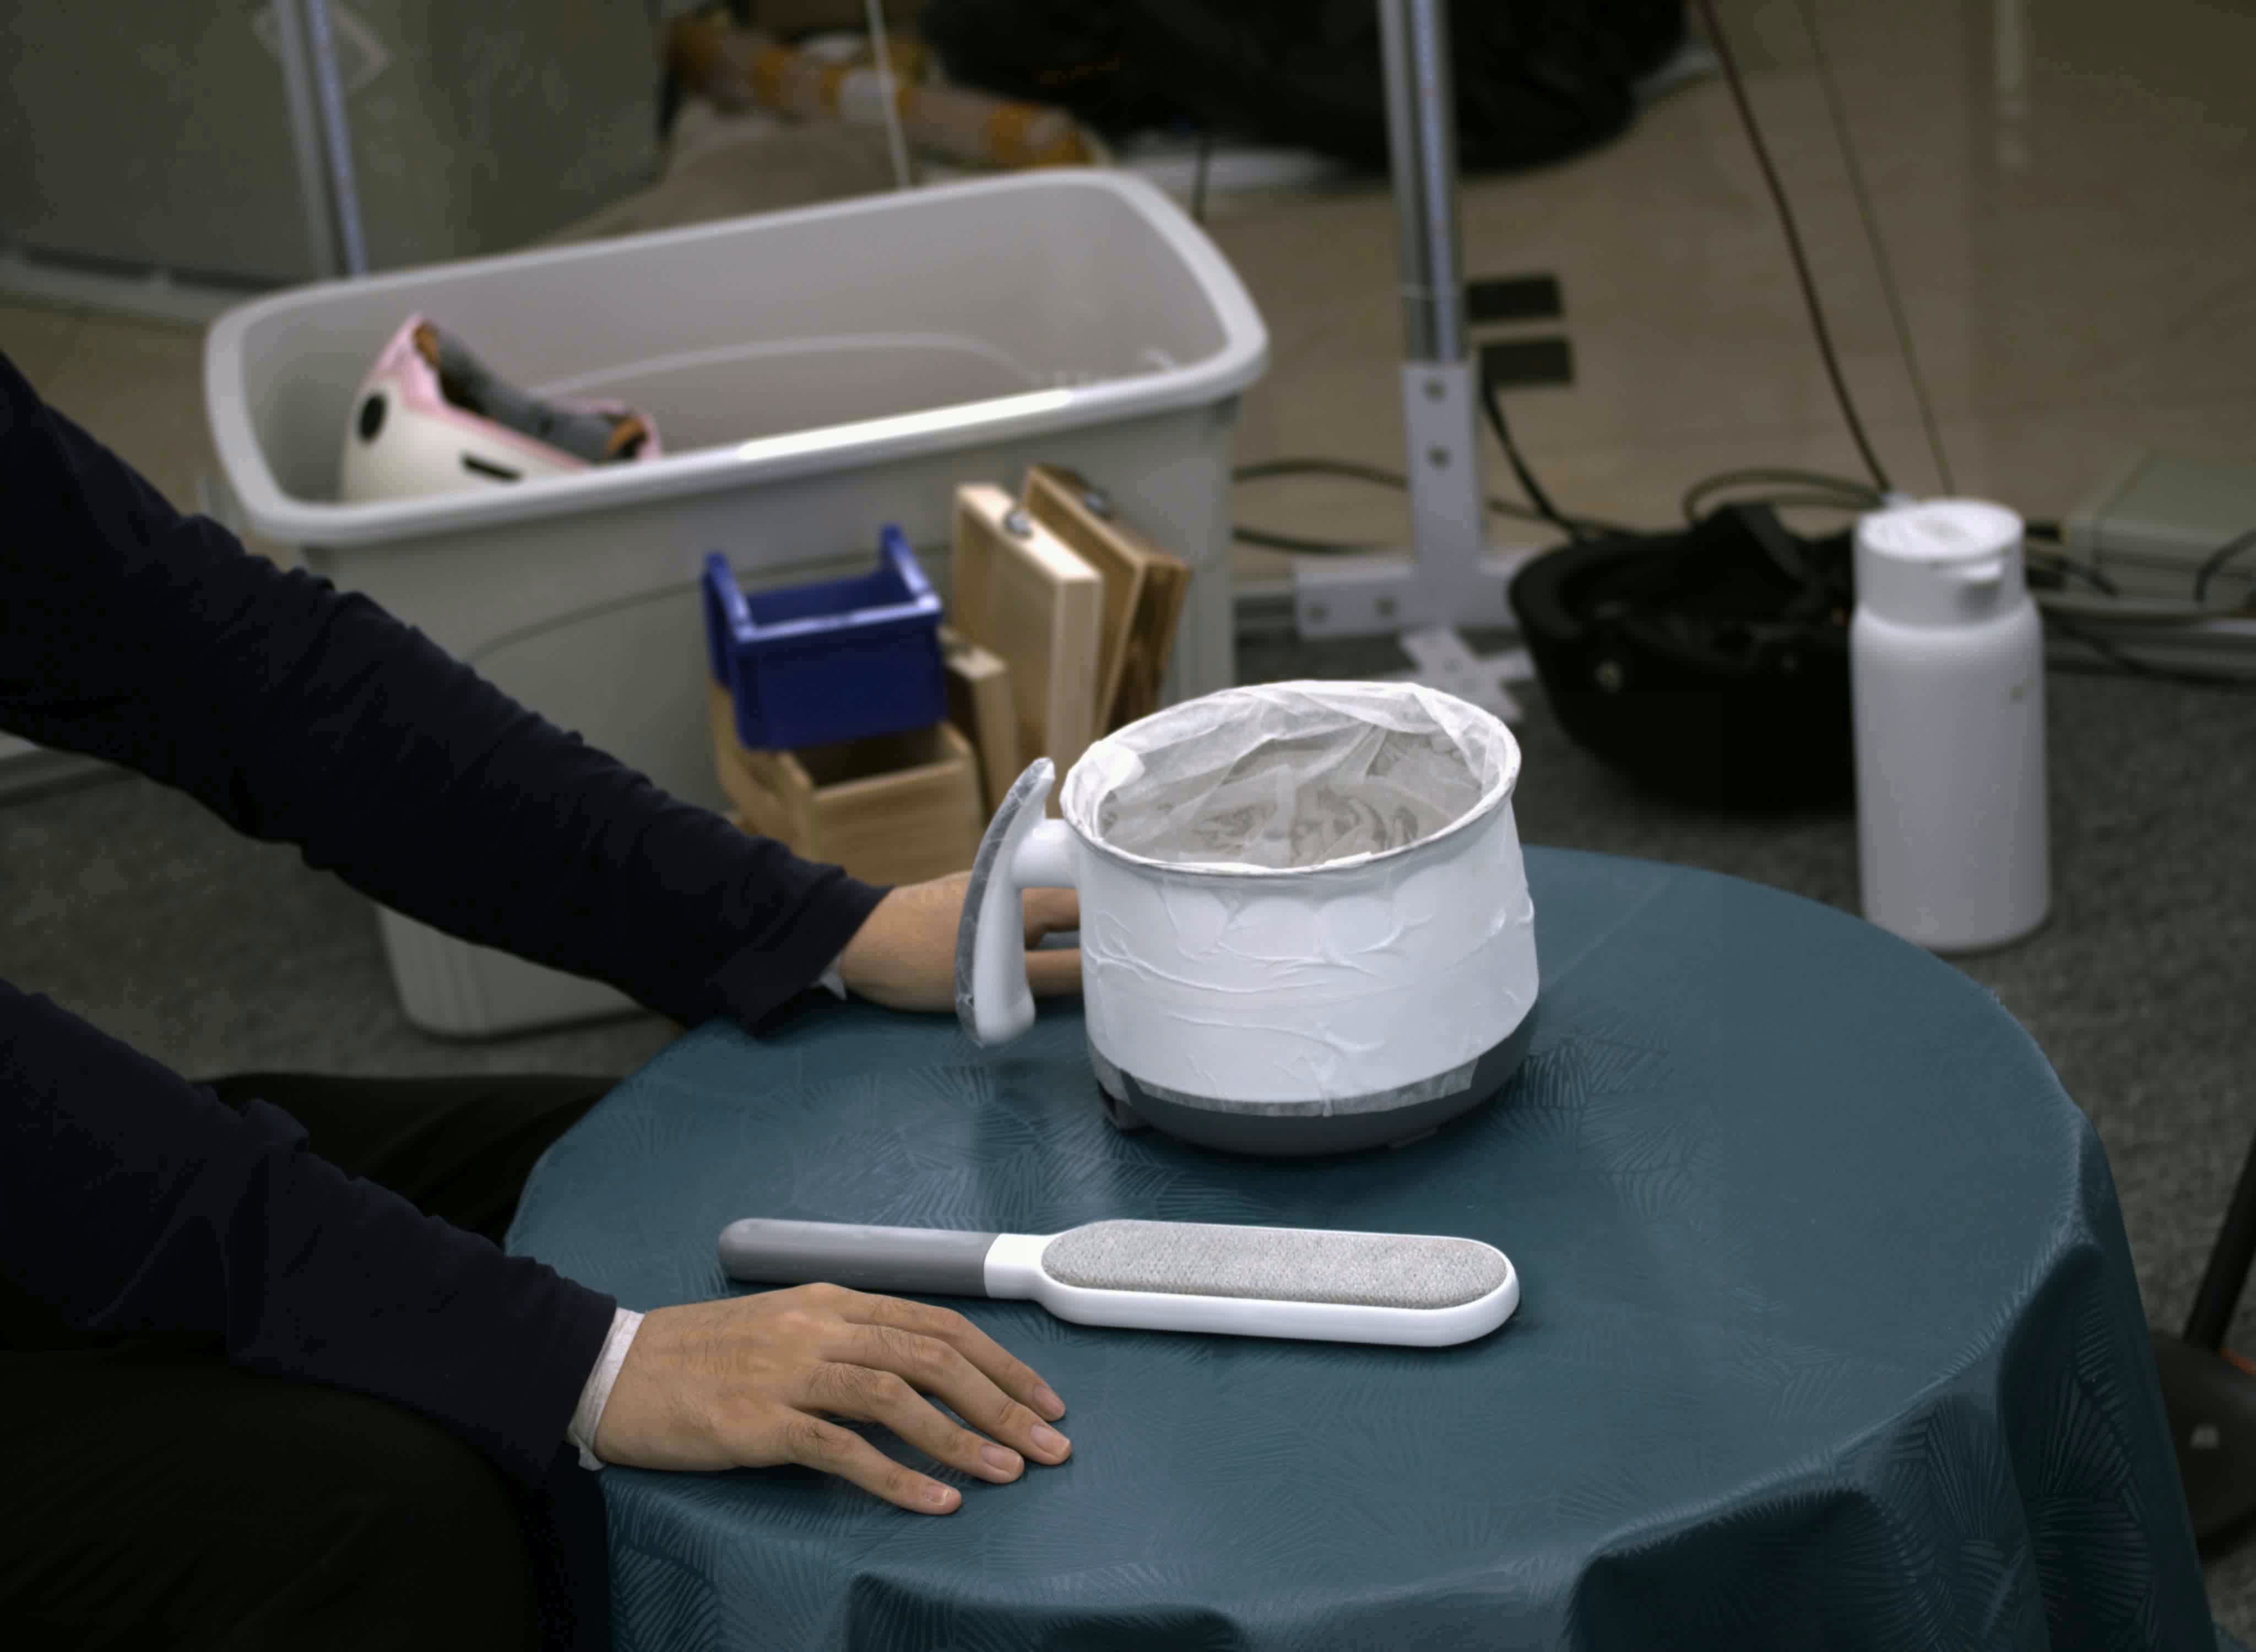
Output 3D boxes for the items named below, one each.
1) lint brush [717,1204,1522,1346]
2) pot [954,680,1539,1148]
[{"bbox_3d":[-0.007,0.160,2.076,0.308,0.021,0.059,2,32,19],"label":"lint brush"},{"bbox_3d":[0.042,0.035,2.196,0.233,0.138,0.176,1,24,15],"label":"pot"}]
